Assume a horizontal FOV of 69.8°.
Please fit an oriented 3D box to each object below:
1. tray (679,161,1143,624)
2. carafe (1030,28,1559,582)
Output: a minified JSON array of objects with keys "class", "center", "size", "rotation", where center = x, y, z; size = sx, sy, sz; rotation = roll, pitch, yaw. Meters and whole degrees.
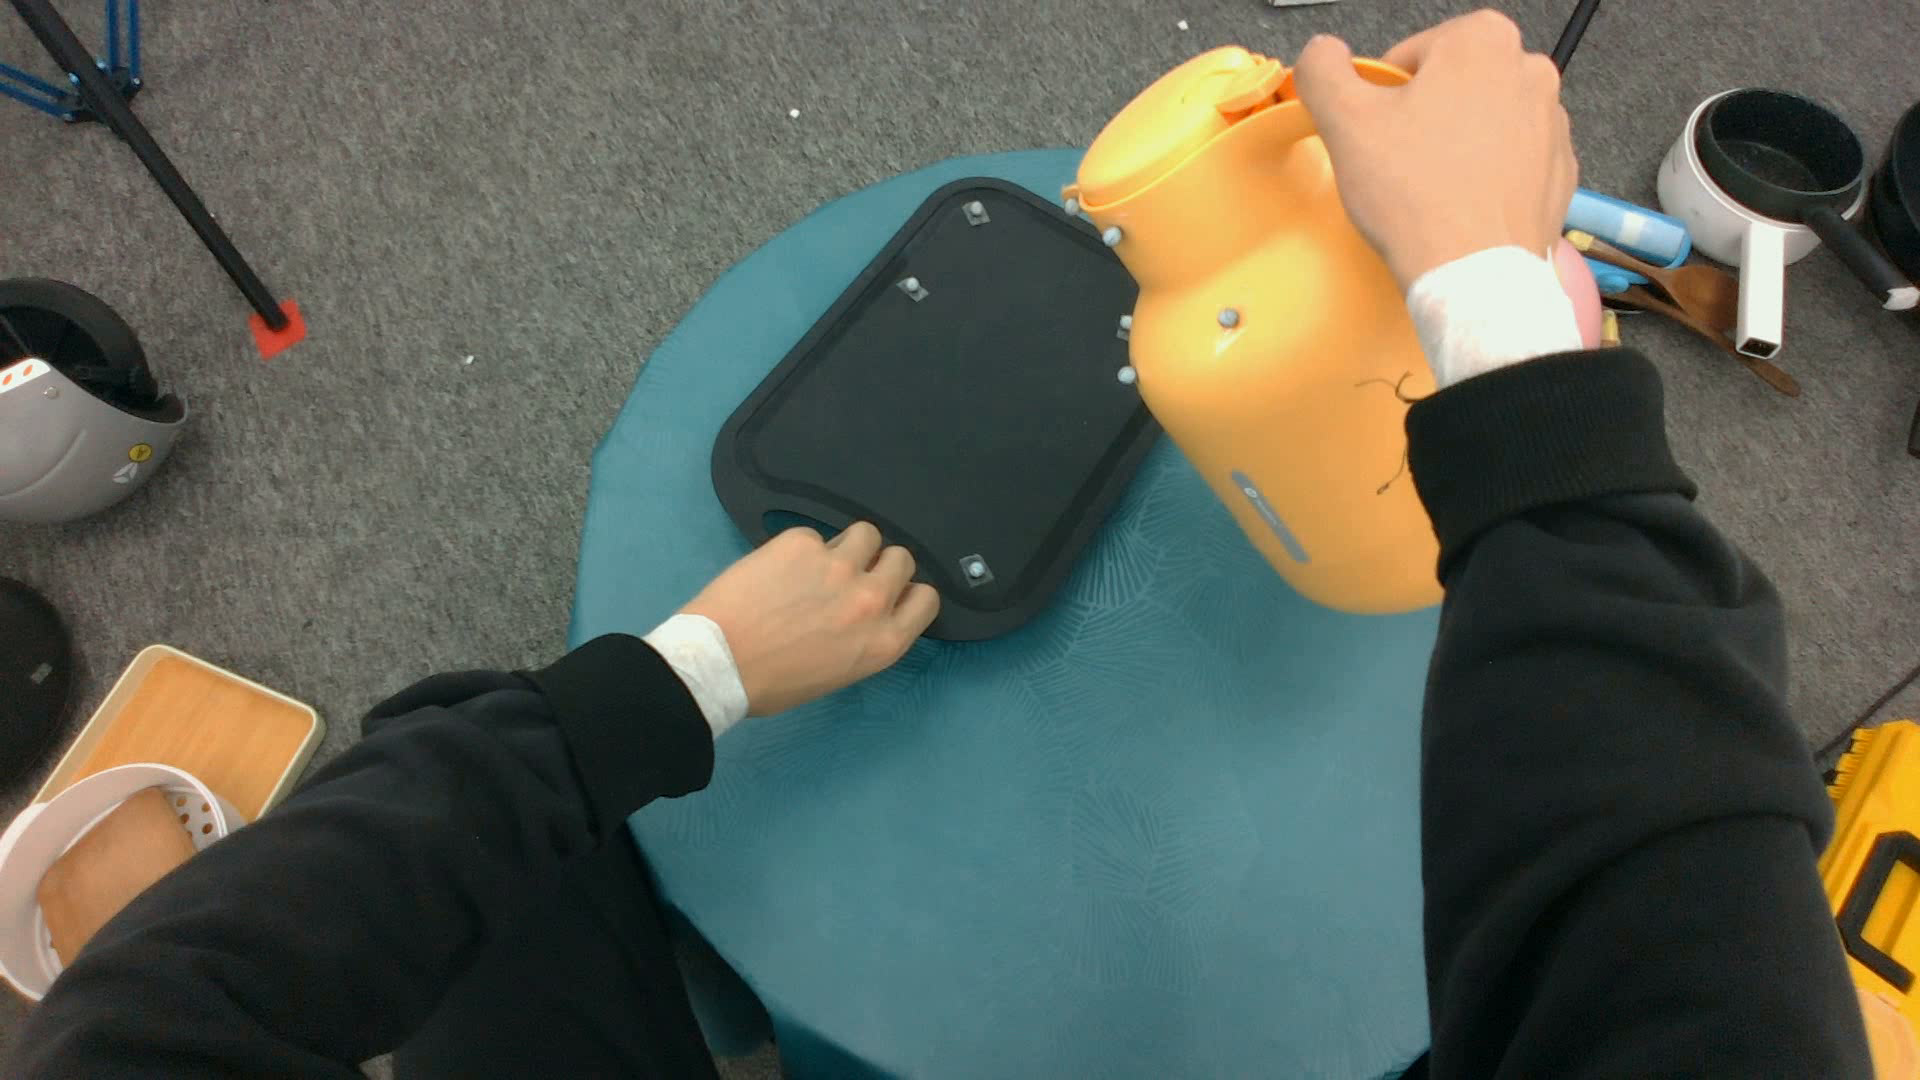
[{"class":"tray","center":[-0.008,-0.096,0.802],"size":[0.211,0.010,0.327],"rotation":[30,60,10]},{"class":"carafe","center":[0.158,-0.109,0.621],"size":[0.260,0.202,0.164],"rotation":[43,69,-24]}]
